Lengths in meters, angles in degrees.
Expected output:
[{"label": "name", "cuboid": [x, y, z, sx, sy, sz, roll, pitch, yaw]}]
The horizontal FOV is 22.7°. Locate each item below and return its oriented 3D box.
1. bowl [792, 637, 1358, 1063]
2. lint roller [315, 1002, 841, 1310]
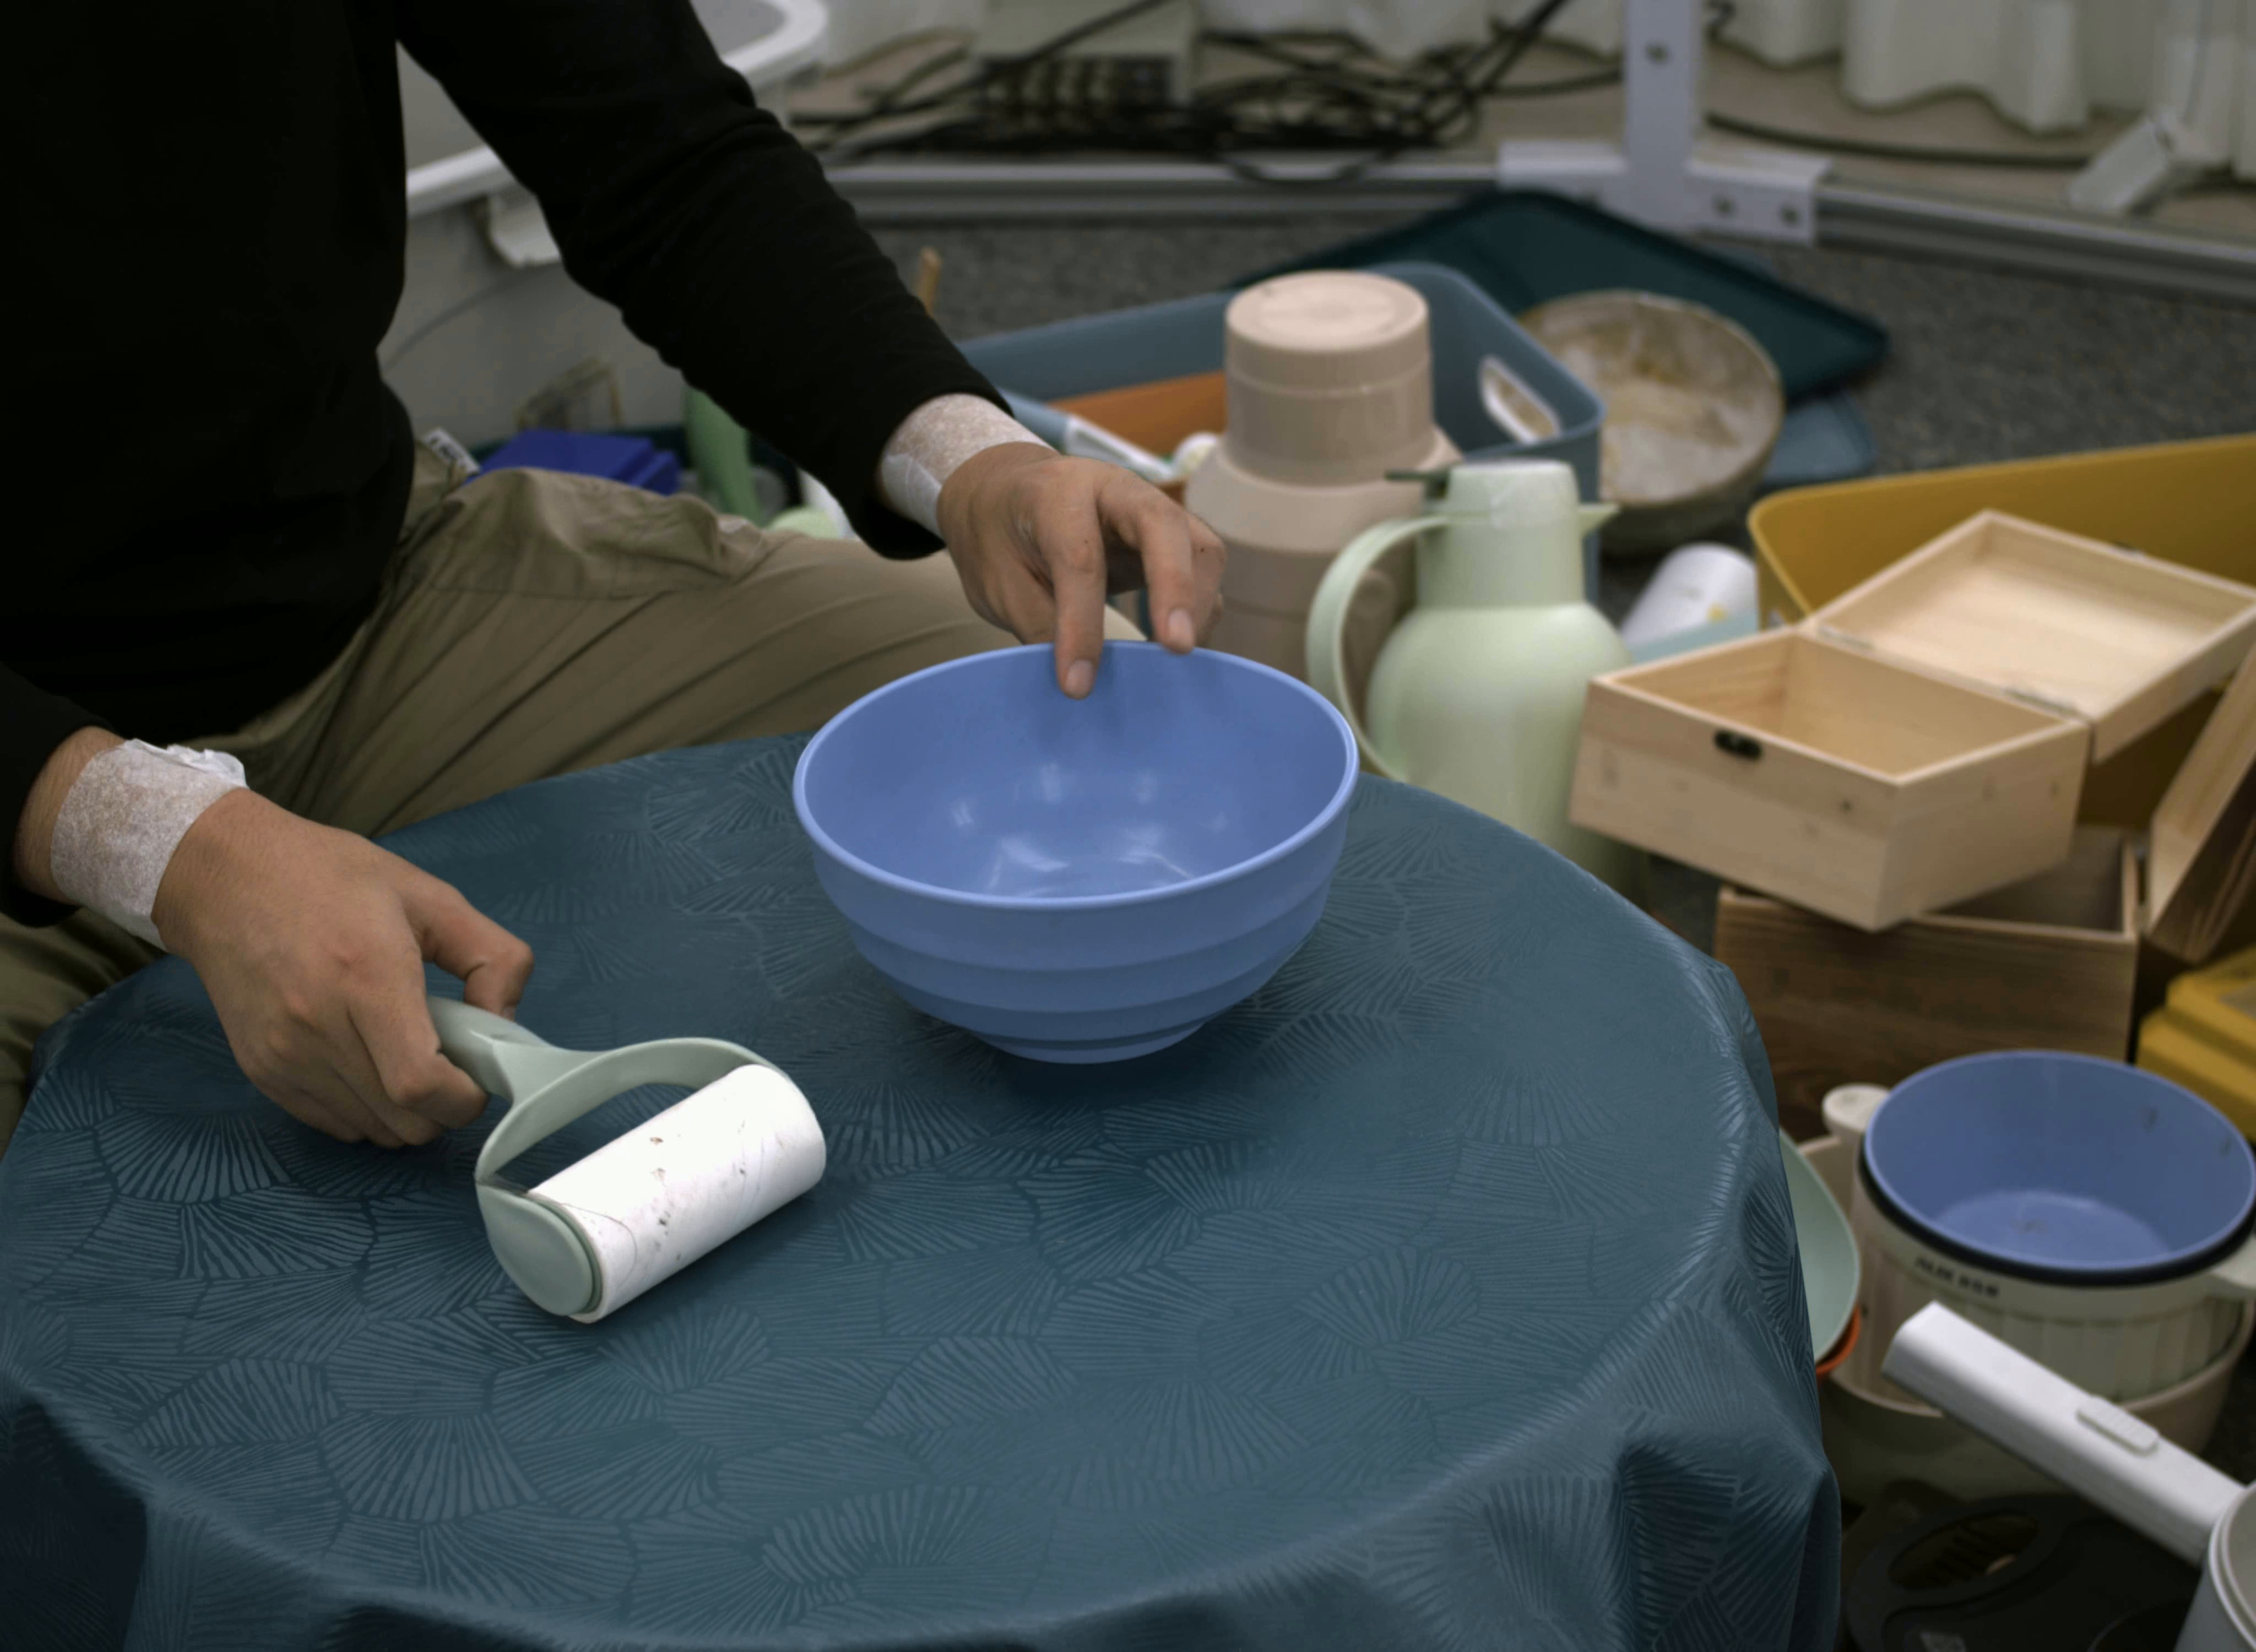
[{"label": "bowl", "cuboid": [-0.015, 0.019, 1.957, 0.195, 0.094, 0.199, -3, 28, 2]}, {"label": "lint roller", "cuboid": [-0.199, 0.090, 1.875, 0.197, 0.048, 0.118, 25, 40, 34]}]
